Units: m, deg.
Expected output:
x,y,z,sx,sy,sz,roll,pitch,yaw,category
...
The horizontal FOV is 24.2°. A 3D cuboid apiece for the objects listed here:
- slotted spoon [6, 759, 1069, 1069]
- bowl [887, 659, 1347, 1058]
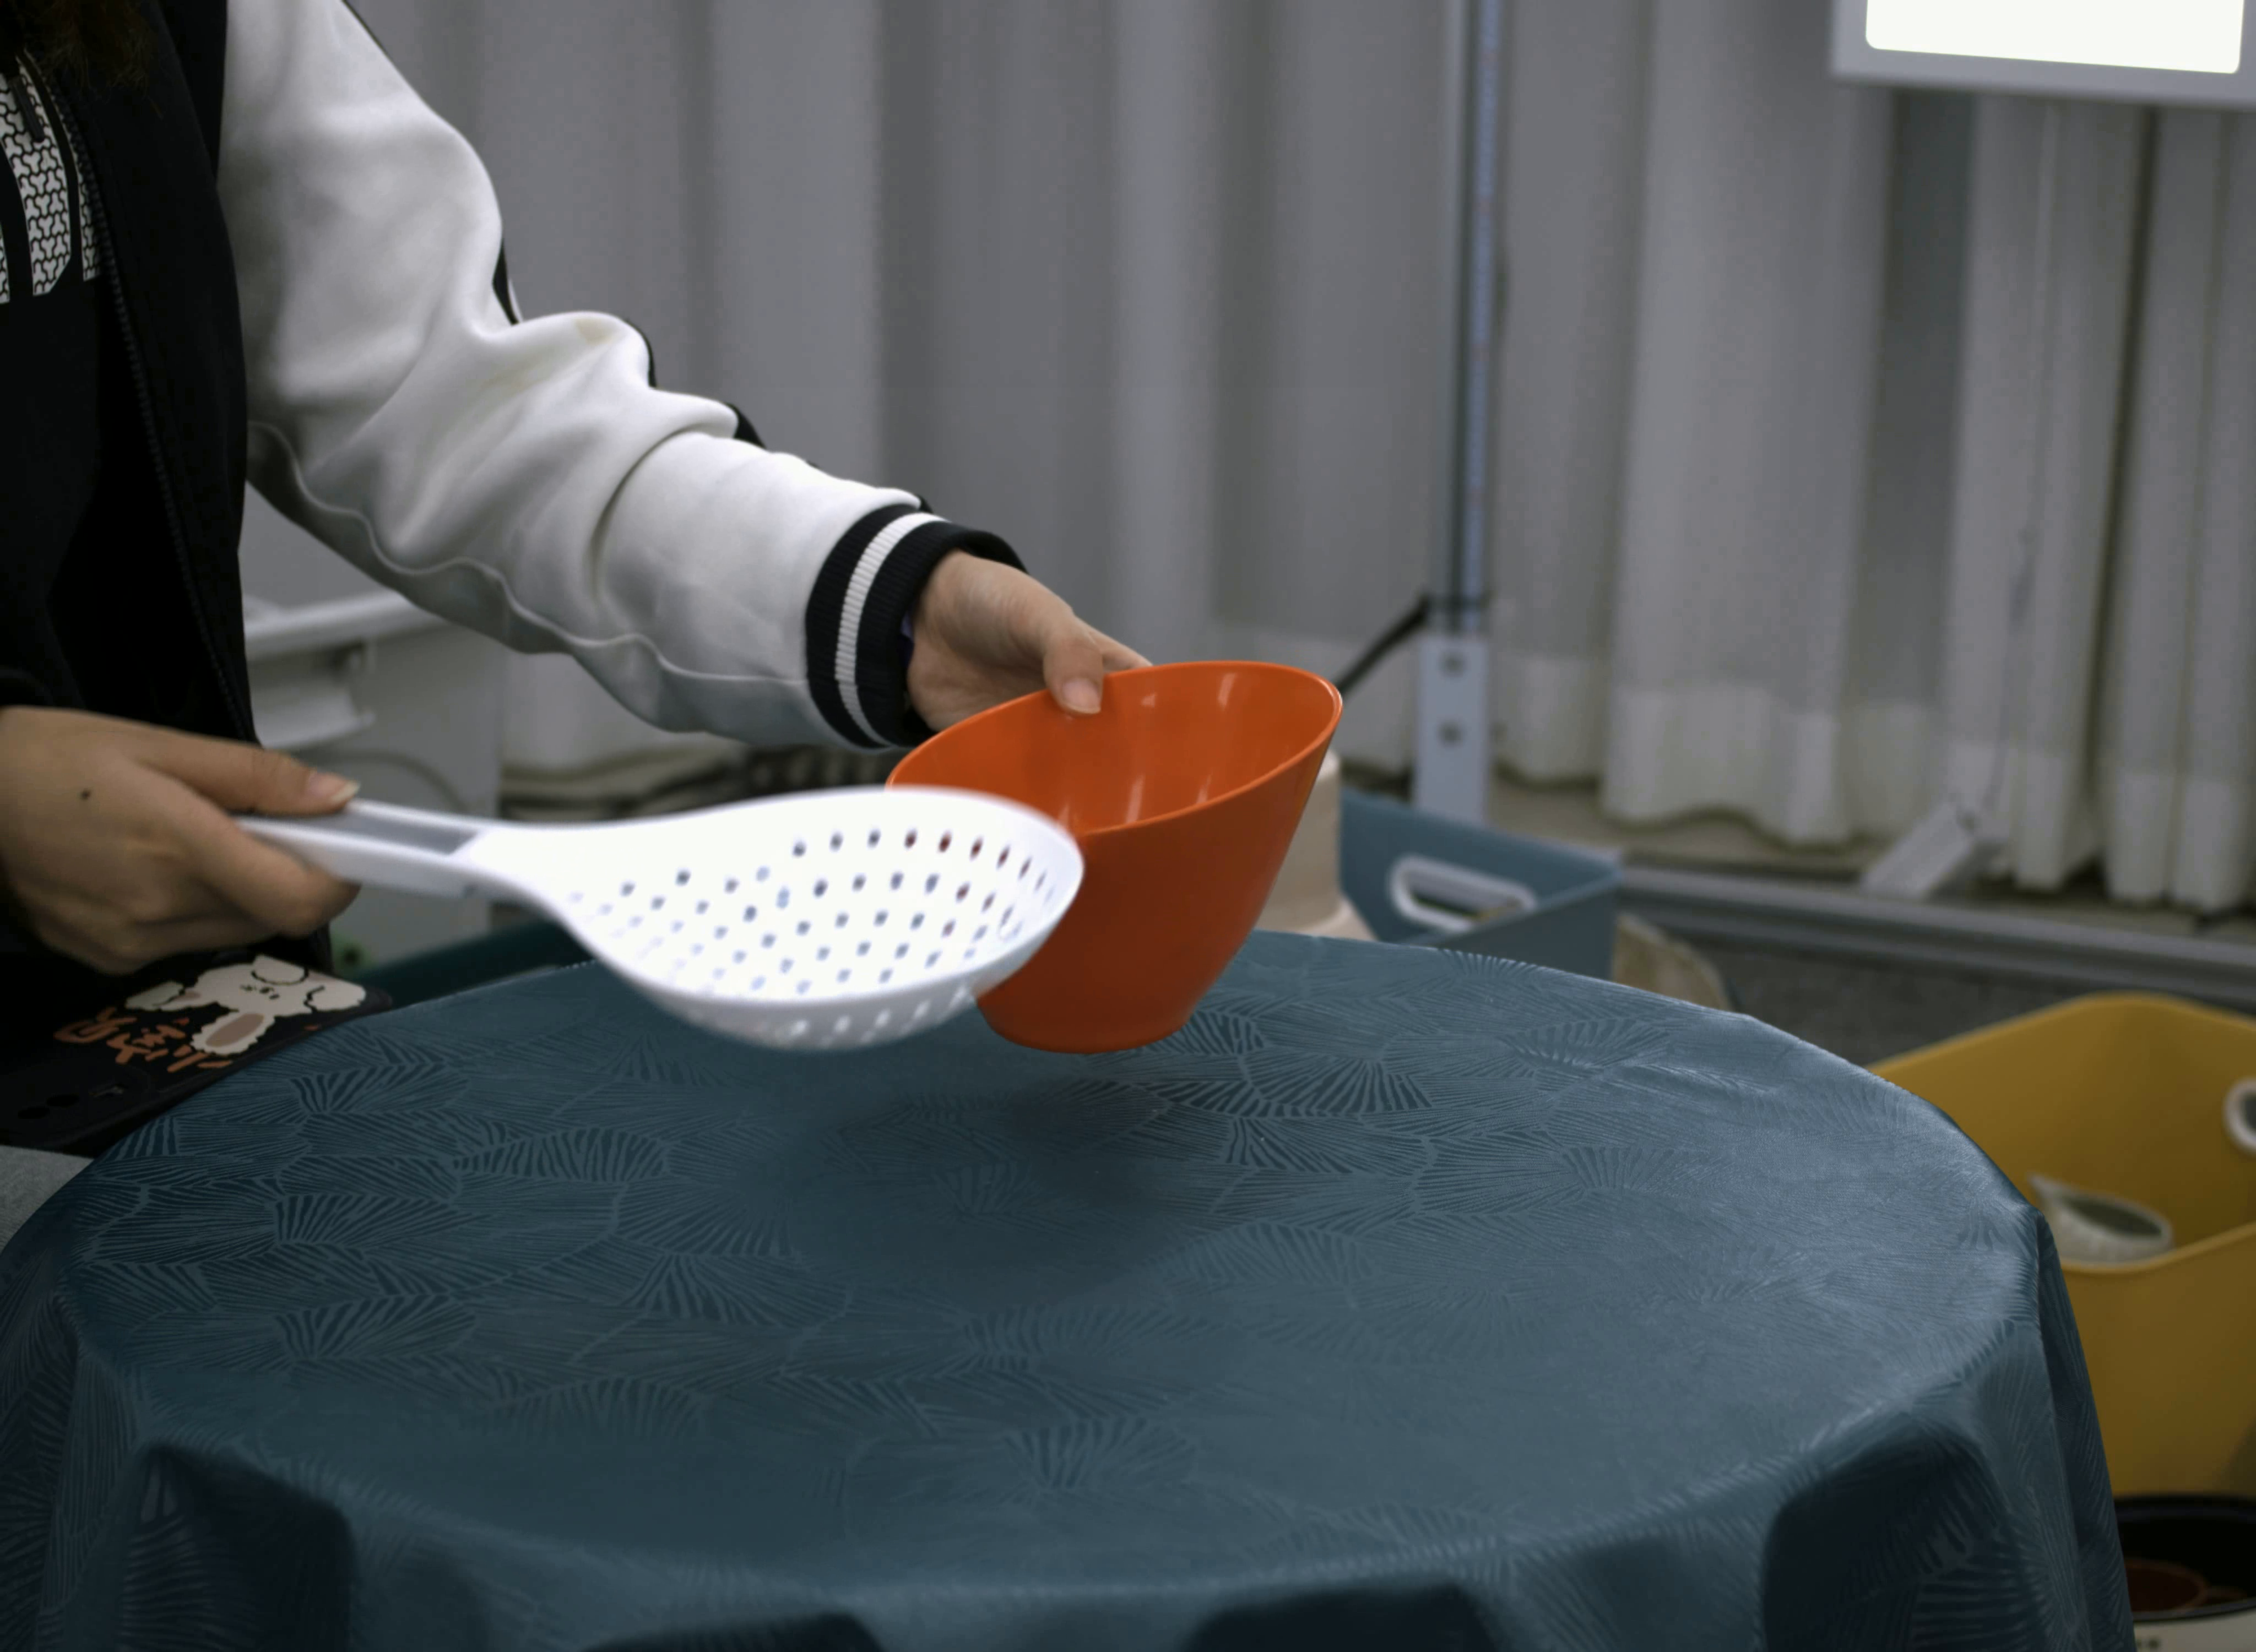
x,y,z,sx,sy,sz,roll,pitch,yaw,category
-0.177,0.015,1.492,0.346,0.046,0.136,14,29,25,slotted spoon
-0.002,0.014,1.679,0.147,0.106,0.147,-2,23,2,bowl
